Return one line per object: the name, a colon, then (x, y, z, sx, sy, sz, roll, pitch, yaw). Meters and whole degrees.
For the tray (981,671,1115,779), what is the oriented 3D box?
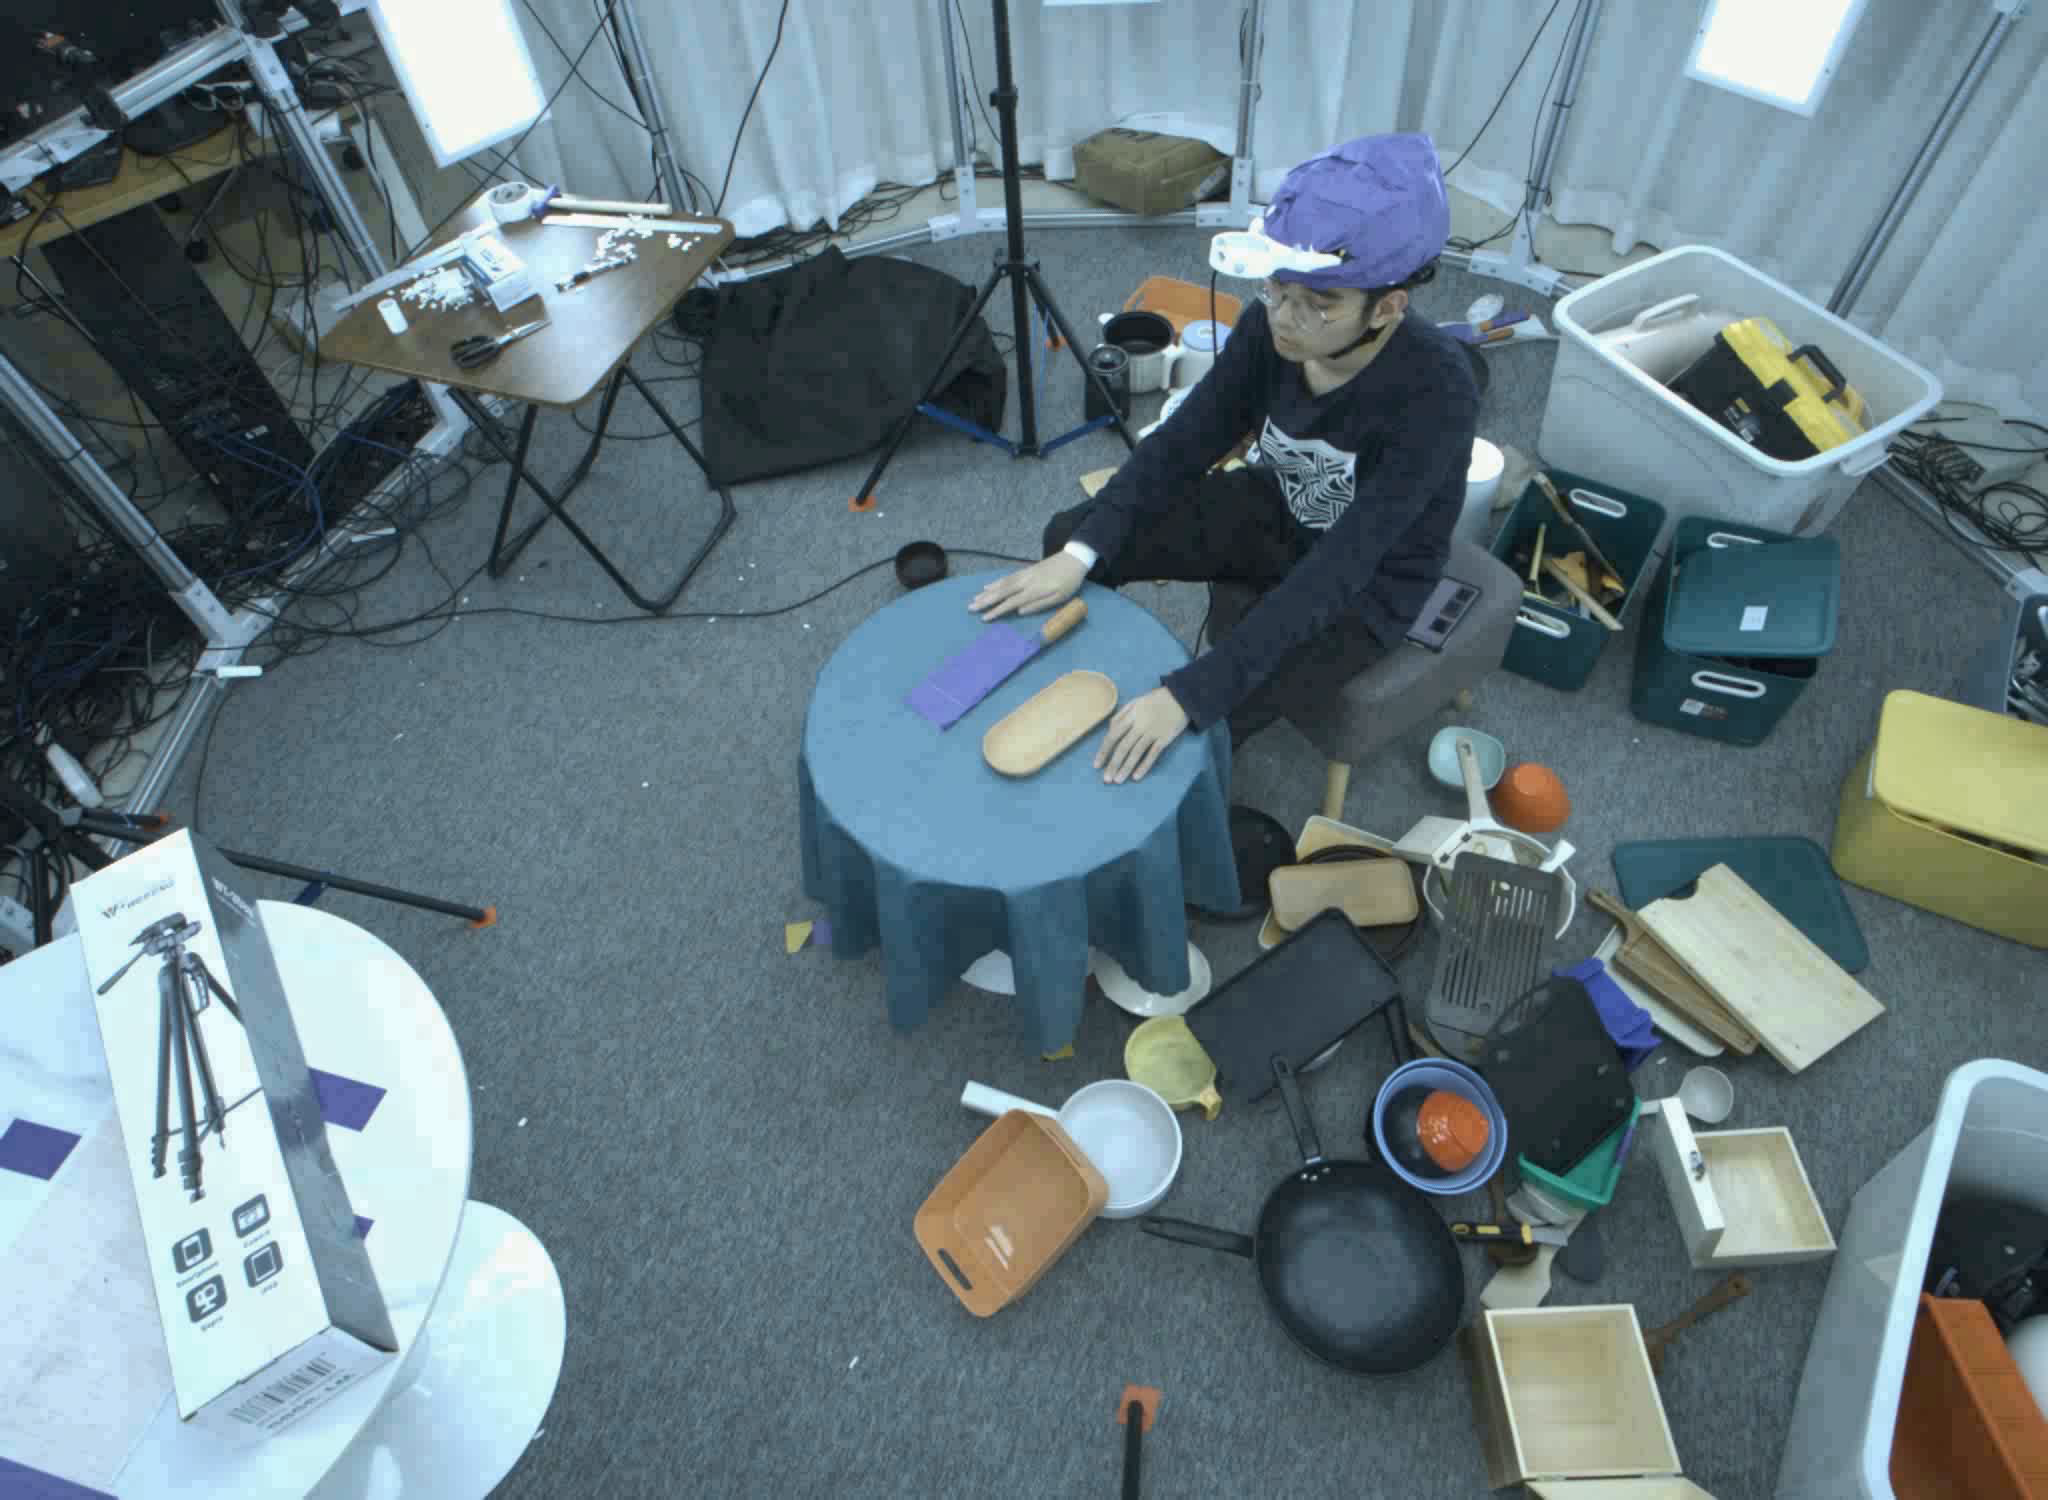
tray: (0.037, -0.038, 1.812, 0.233, 0.020, 0.100, -39, 62, -22)

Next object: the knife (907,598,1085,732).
knife: (-0.044, -0.149, 1.887, 0.102, 0.032, 0.317, 38, 64, 24)
